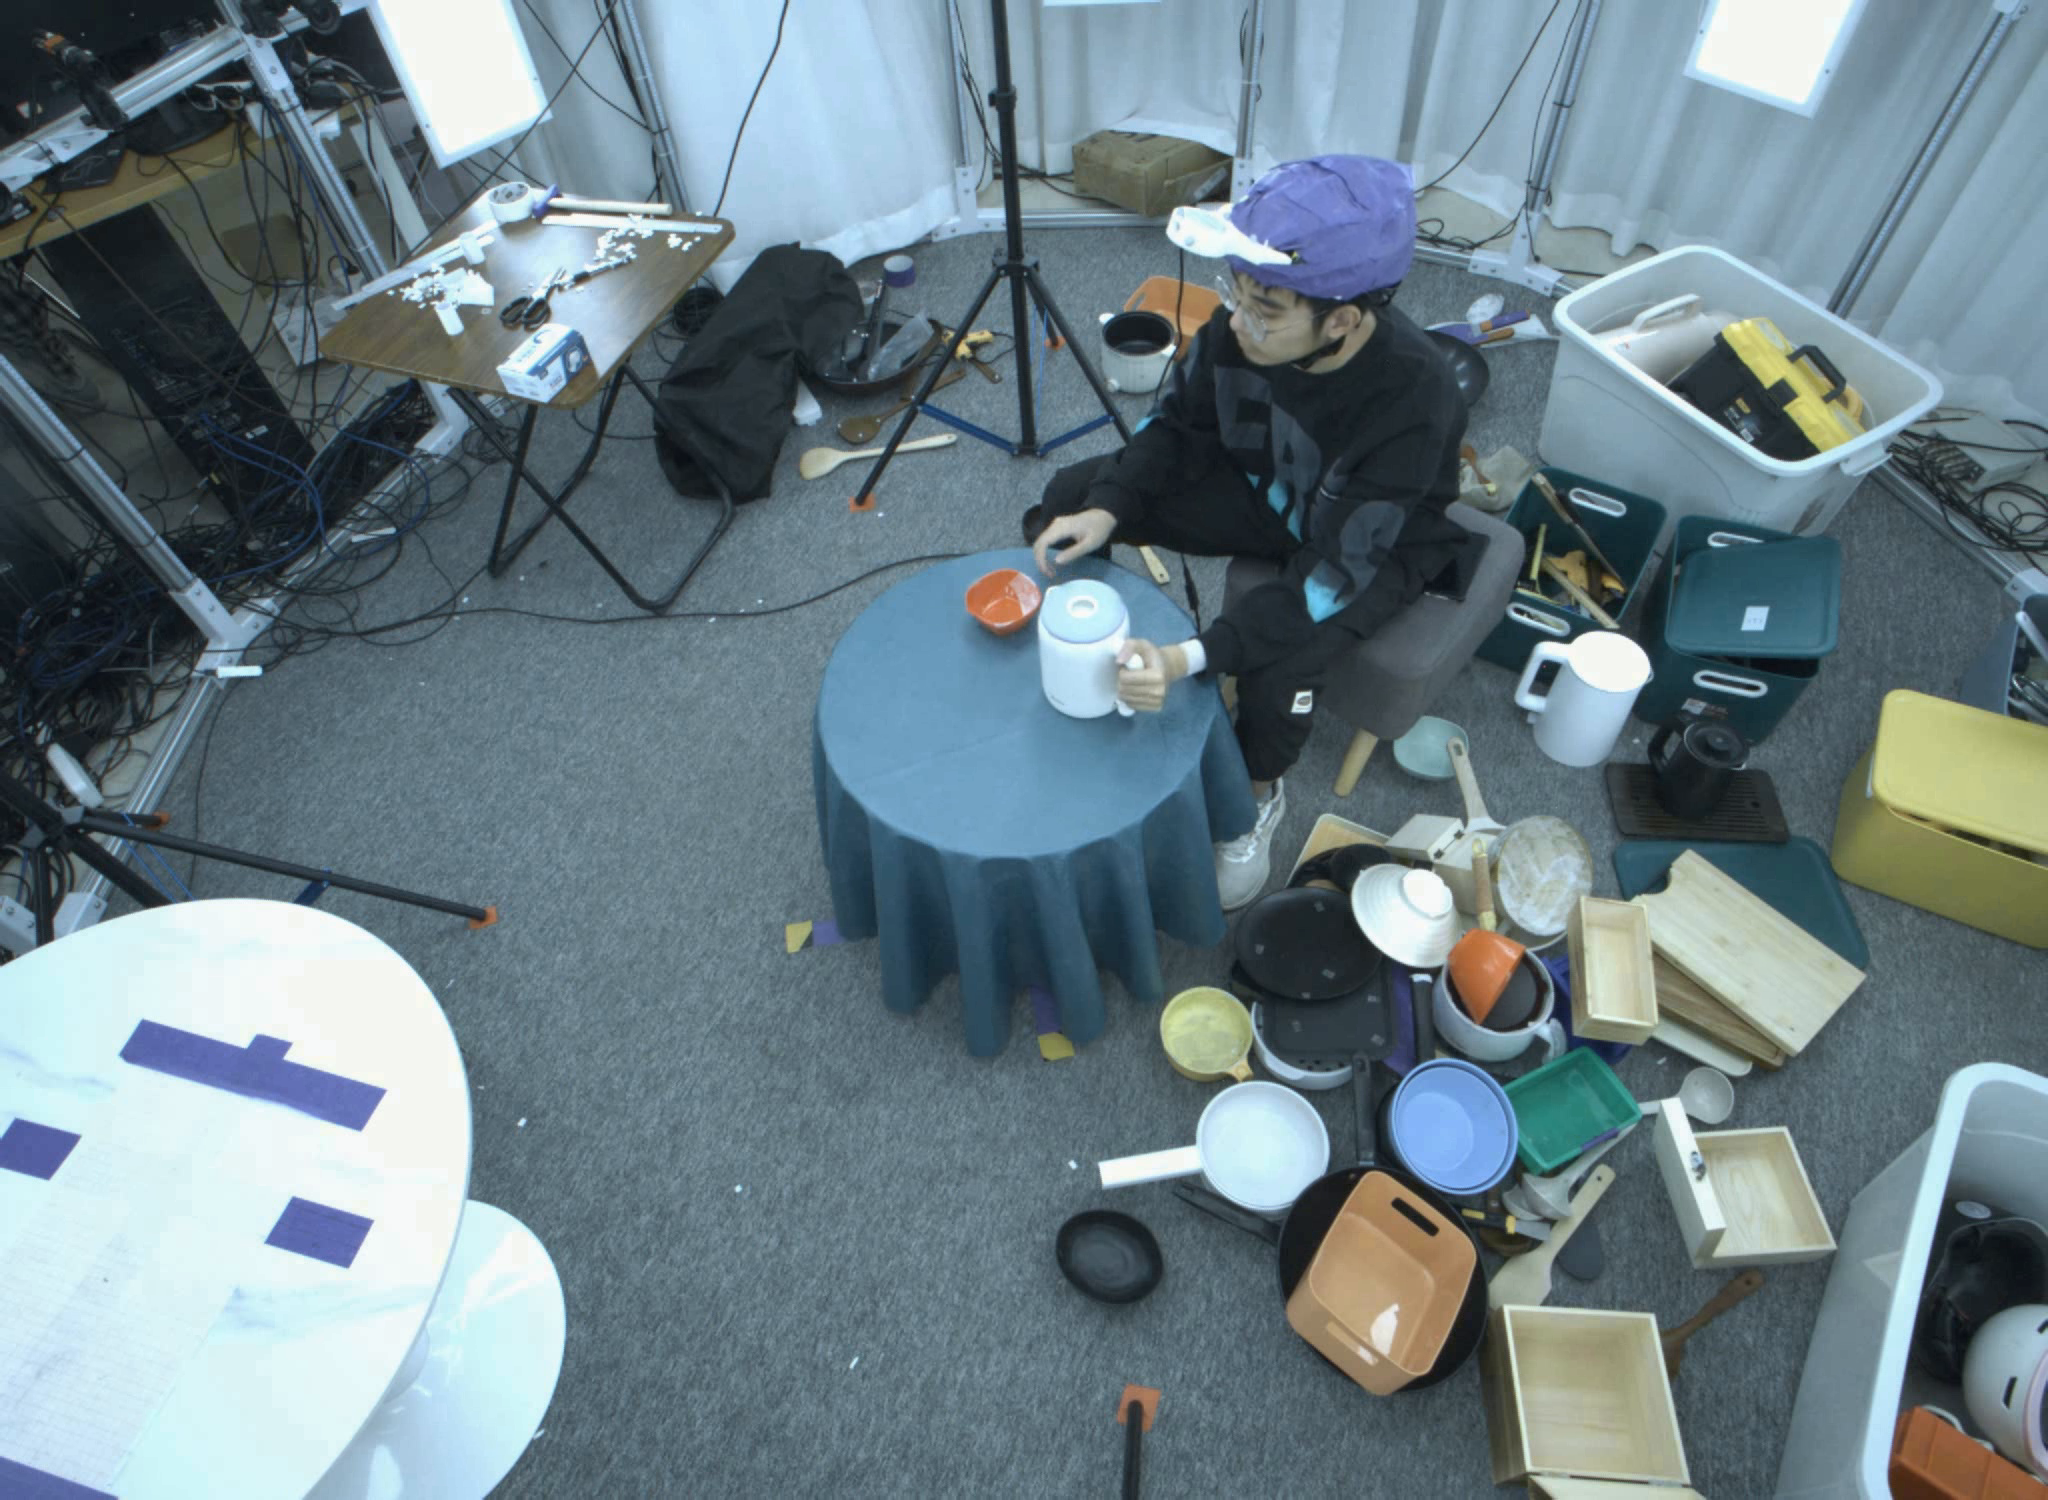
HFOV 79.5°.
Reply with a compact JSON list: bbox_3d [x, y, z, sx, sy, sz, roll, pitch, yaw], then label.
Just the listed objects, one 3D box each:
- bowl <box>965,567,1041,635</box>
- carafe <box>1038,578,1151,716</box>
[{"bbox_3d":[-0.031,-0.225,1.911,0.118,0.052,0.117,-2,54,4],"label":"bowl"},{"bbox_3d":[0.106,-0.134,1.769,0.188,0.184,0.133,37,66,23],"label":"carafe"}]
